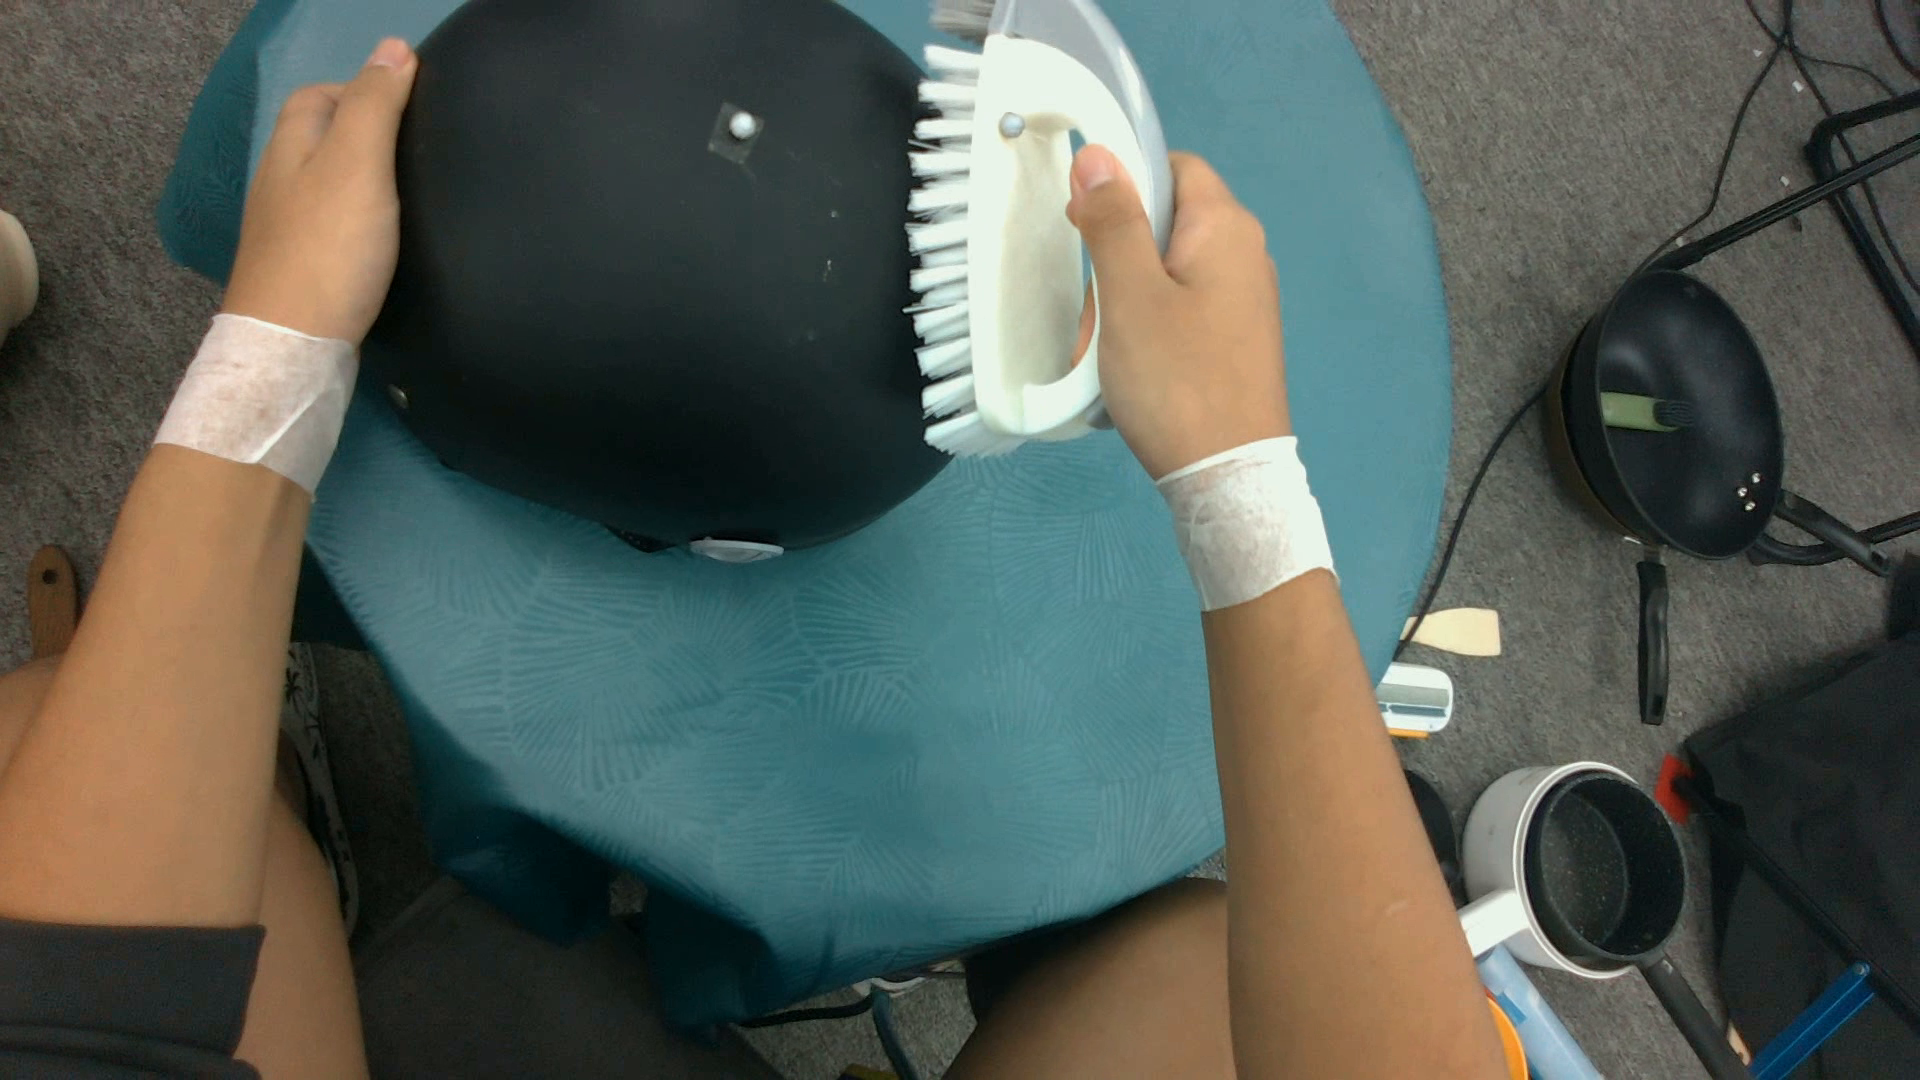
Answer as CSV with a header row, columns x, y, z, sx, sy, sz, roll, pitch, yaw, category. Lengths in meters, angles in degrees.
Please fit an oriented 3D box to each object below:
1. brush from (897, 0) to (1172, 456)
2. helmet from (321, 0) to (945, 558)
x,y,z,sx,sy,sz,roll,pitch,yaw,category
0.026,-0.122,0.478,0.061,0.094,0.175,5,80,-55,brush
-0.096,-0.117,0.531,0.273,0.166,0.230,18,76,-22,helmet
